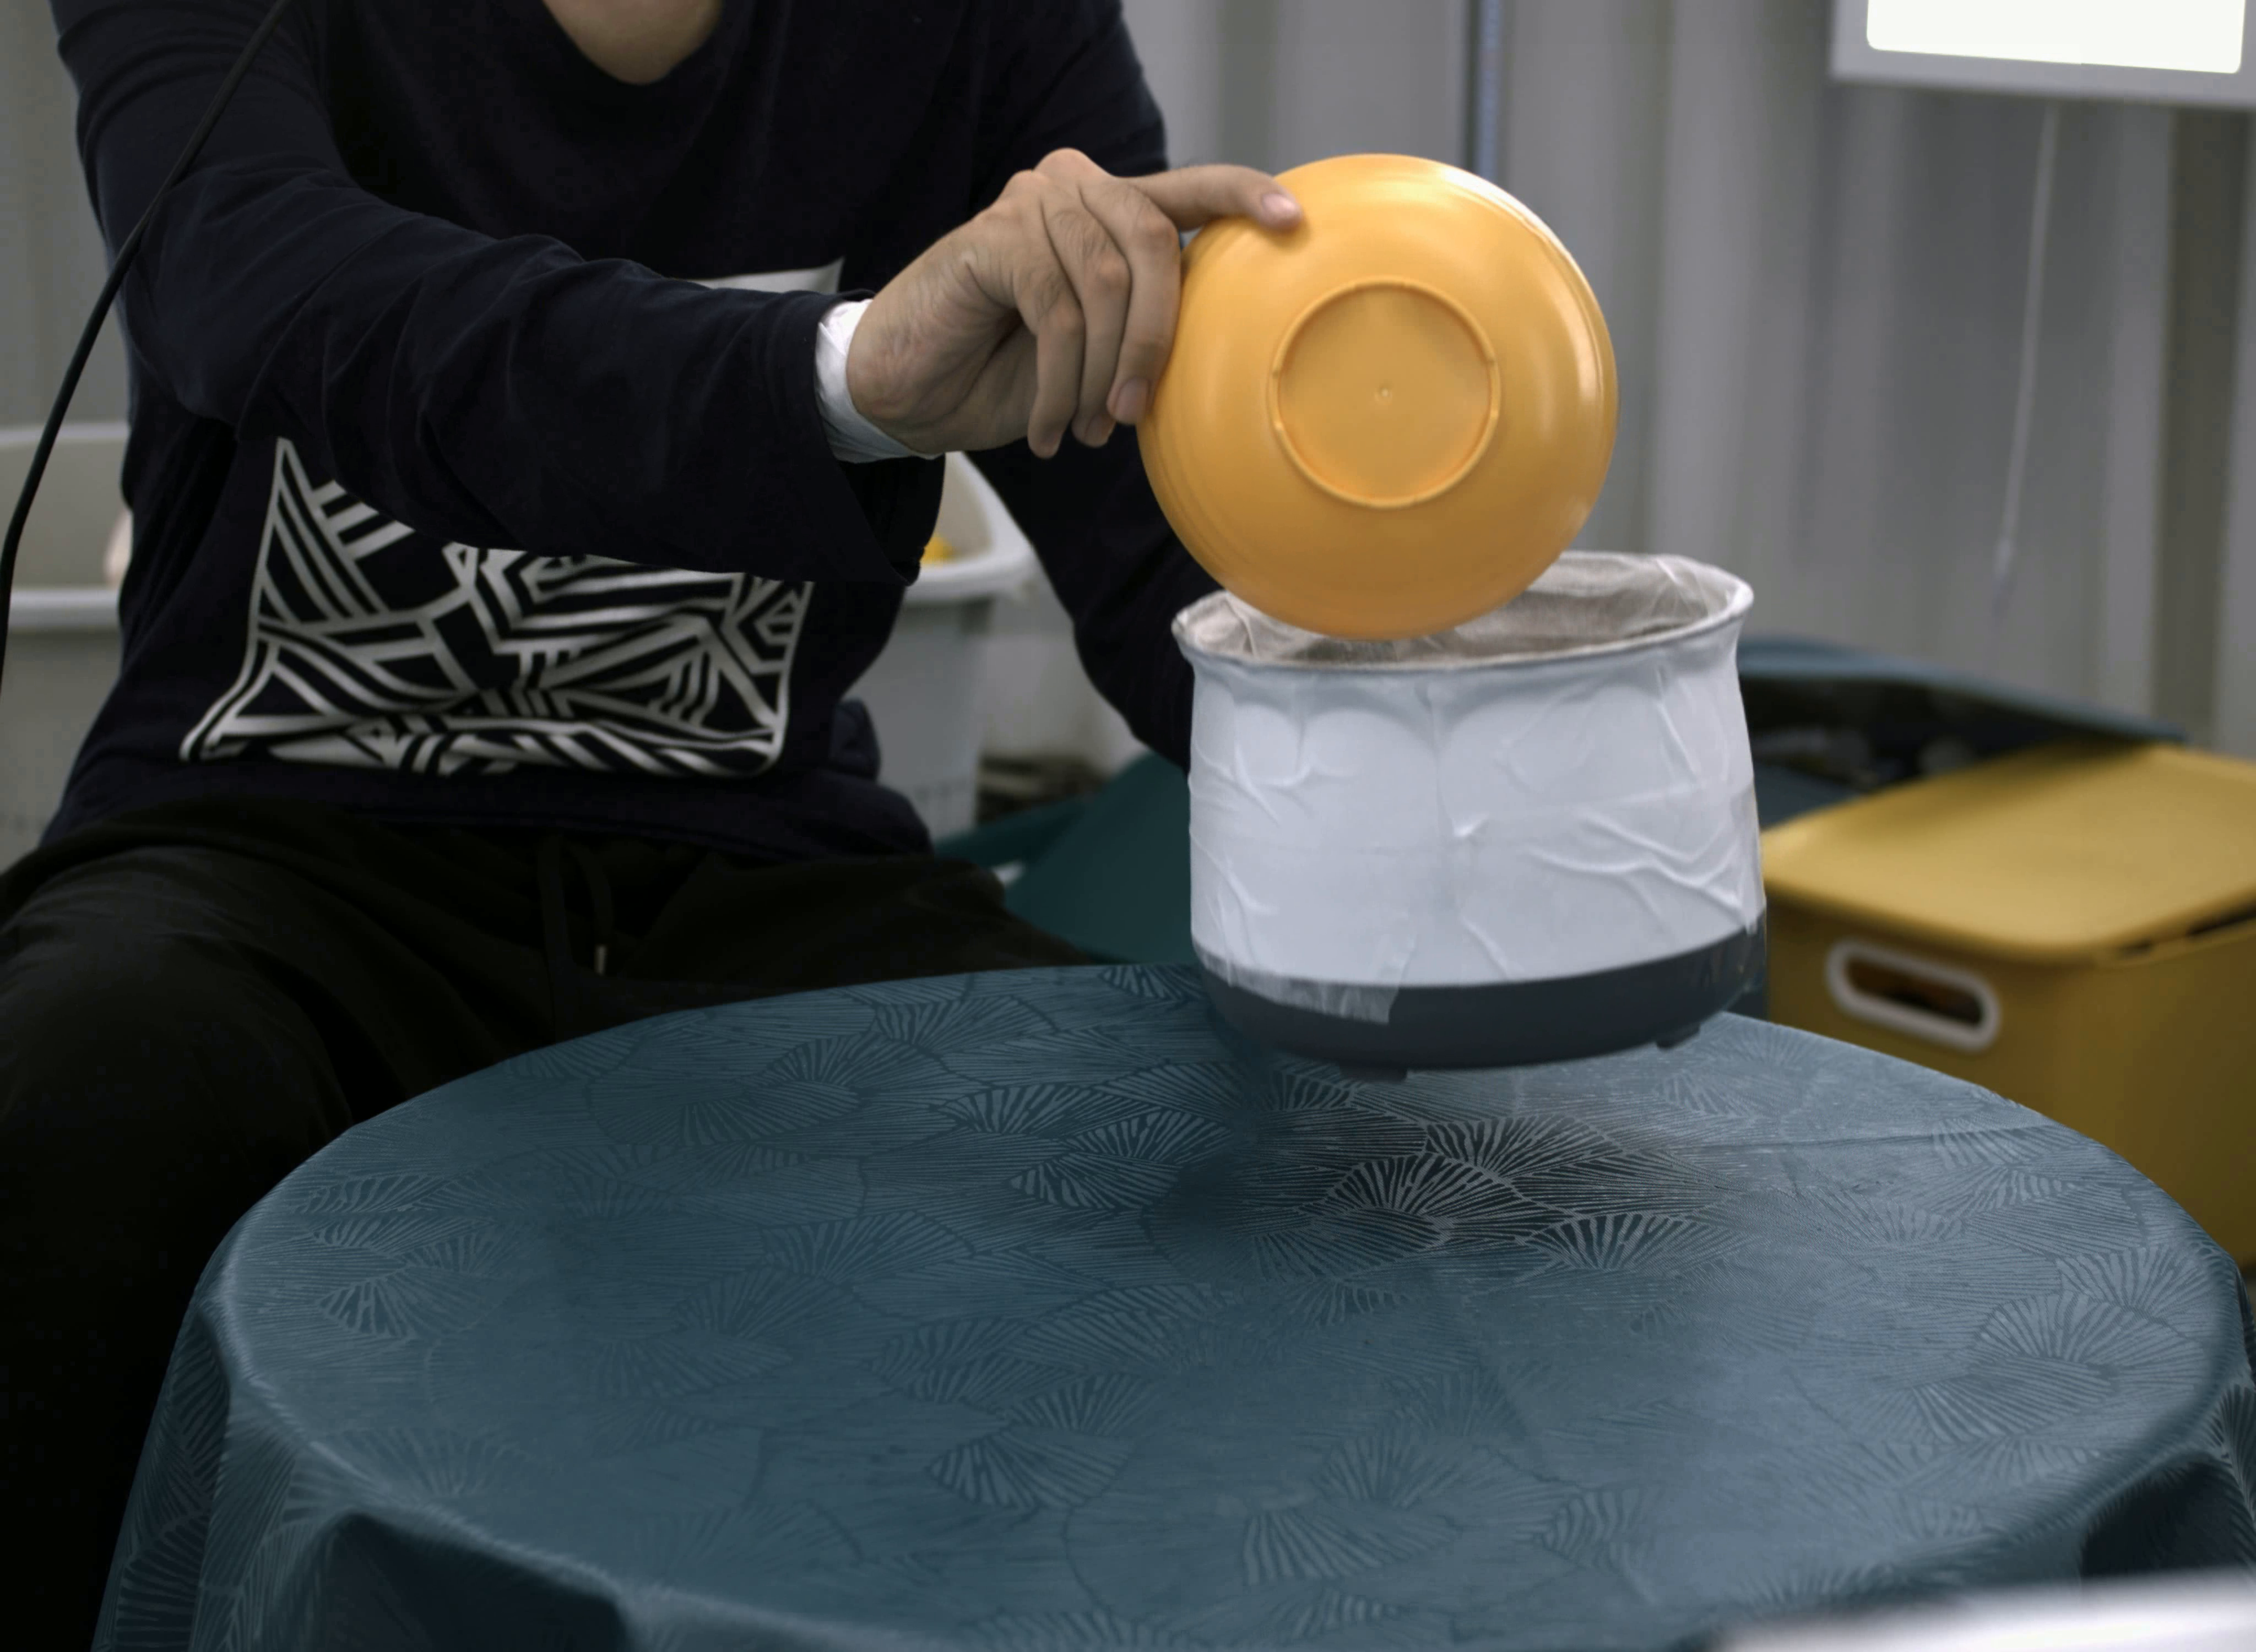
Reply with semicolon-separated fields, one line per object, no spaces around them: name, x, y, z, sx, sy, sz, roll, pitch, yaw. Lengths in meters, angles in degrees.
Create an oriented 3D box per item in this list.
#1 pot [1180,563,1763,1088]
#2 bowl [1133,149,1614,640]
pot;0.099;-0.008;1.637;0.179;0.137;0.231;-5;13;-14
bowl;0.072;-0.127;1.530;0.145;0.146;0.060;1;3;0
